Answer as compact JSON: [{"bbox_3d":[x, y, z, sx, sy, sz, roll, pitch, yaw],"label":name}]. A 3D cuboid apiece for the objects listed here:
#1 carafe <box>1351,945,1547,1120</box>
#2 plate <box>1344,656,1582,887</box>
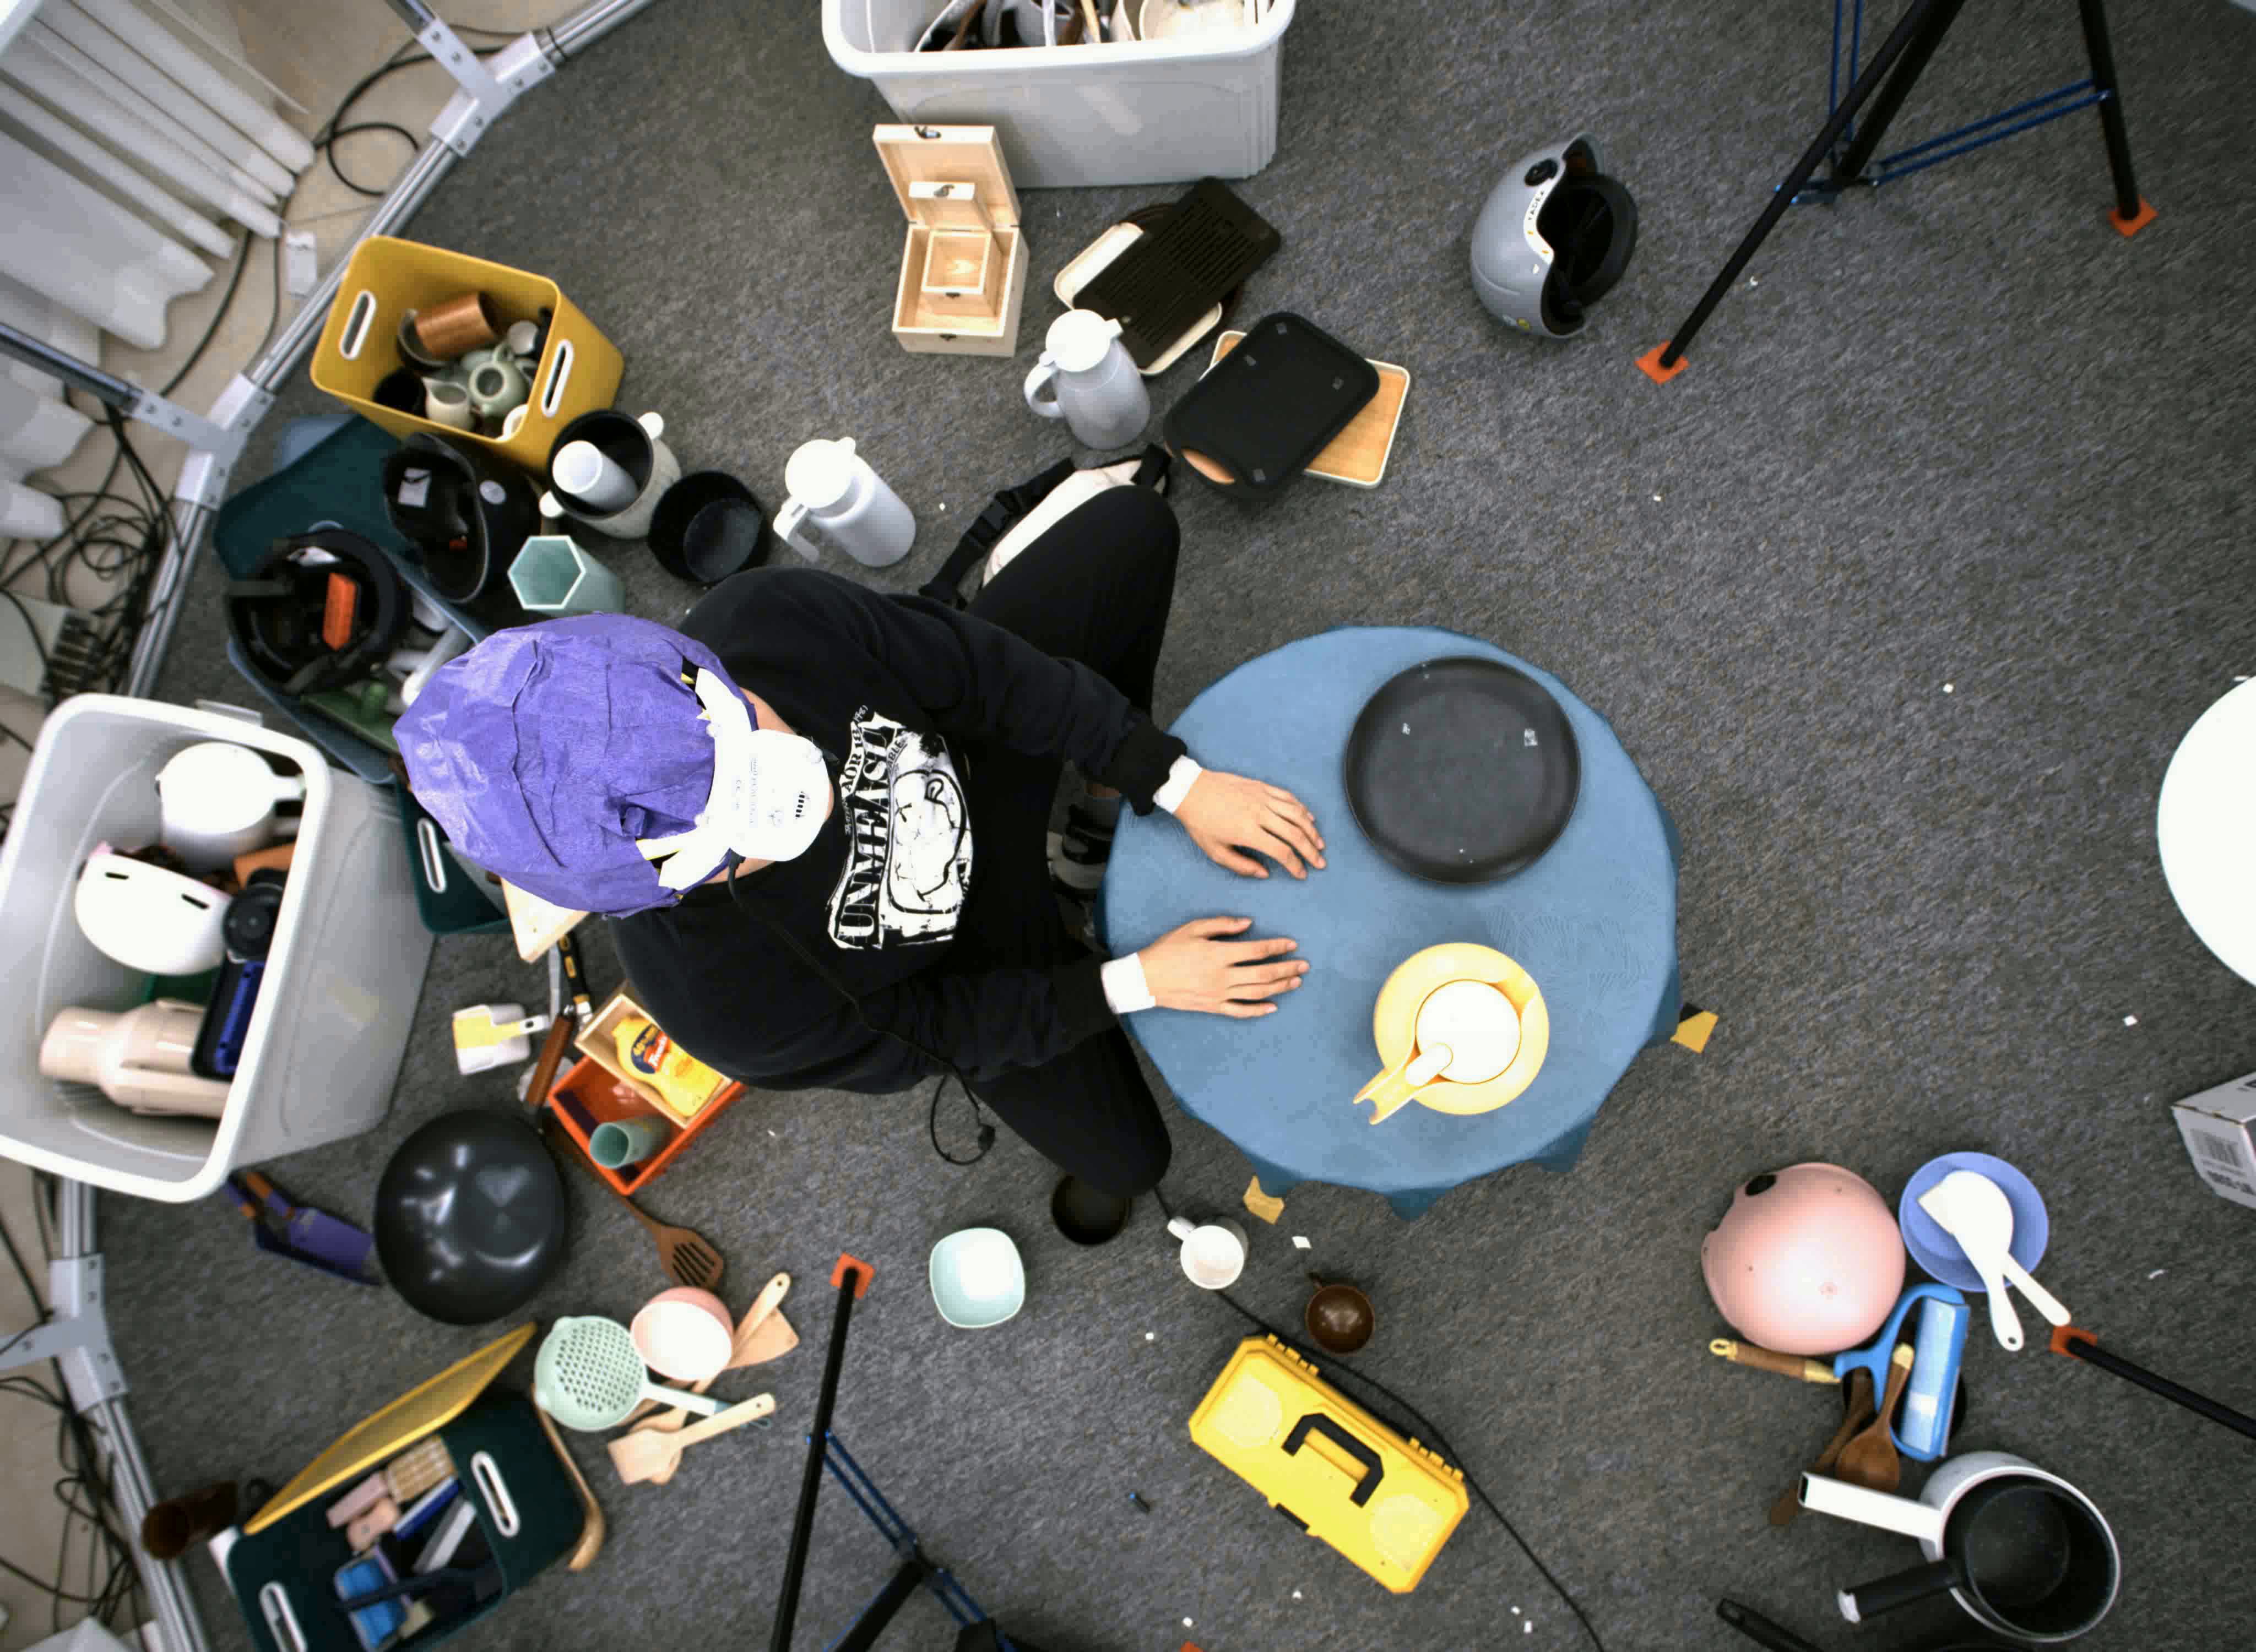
[{"bbox_3d":[0.298,0.203,1.316,0.203,0.261,0.162,-37,77,3],"label":"carafe"},{"bbox_3d":[0.349,-0.059,1.440,0.245,0.023,0.243,-1,87,11],"label":"plate"}]
